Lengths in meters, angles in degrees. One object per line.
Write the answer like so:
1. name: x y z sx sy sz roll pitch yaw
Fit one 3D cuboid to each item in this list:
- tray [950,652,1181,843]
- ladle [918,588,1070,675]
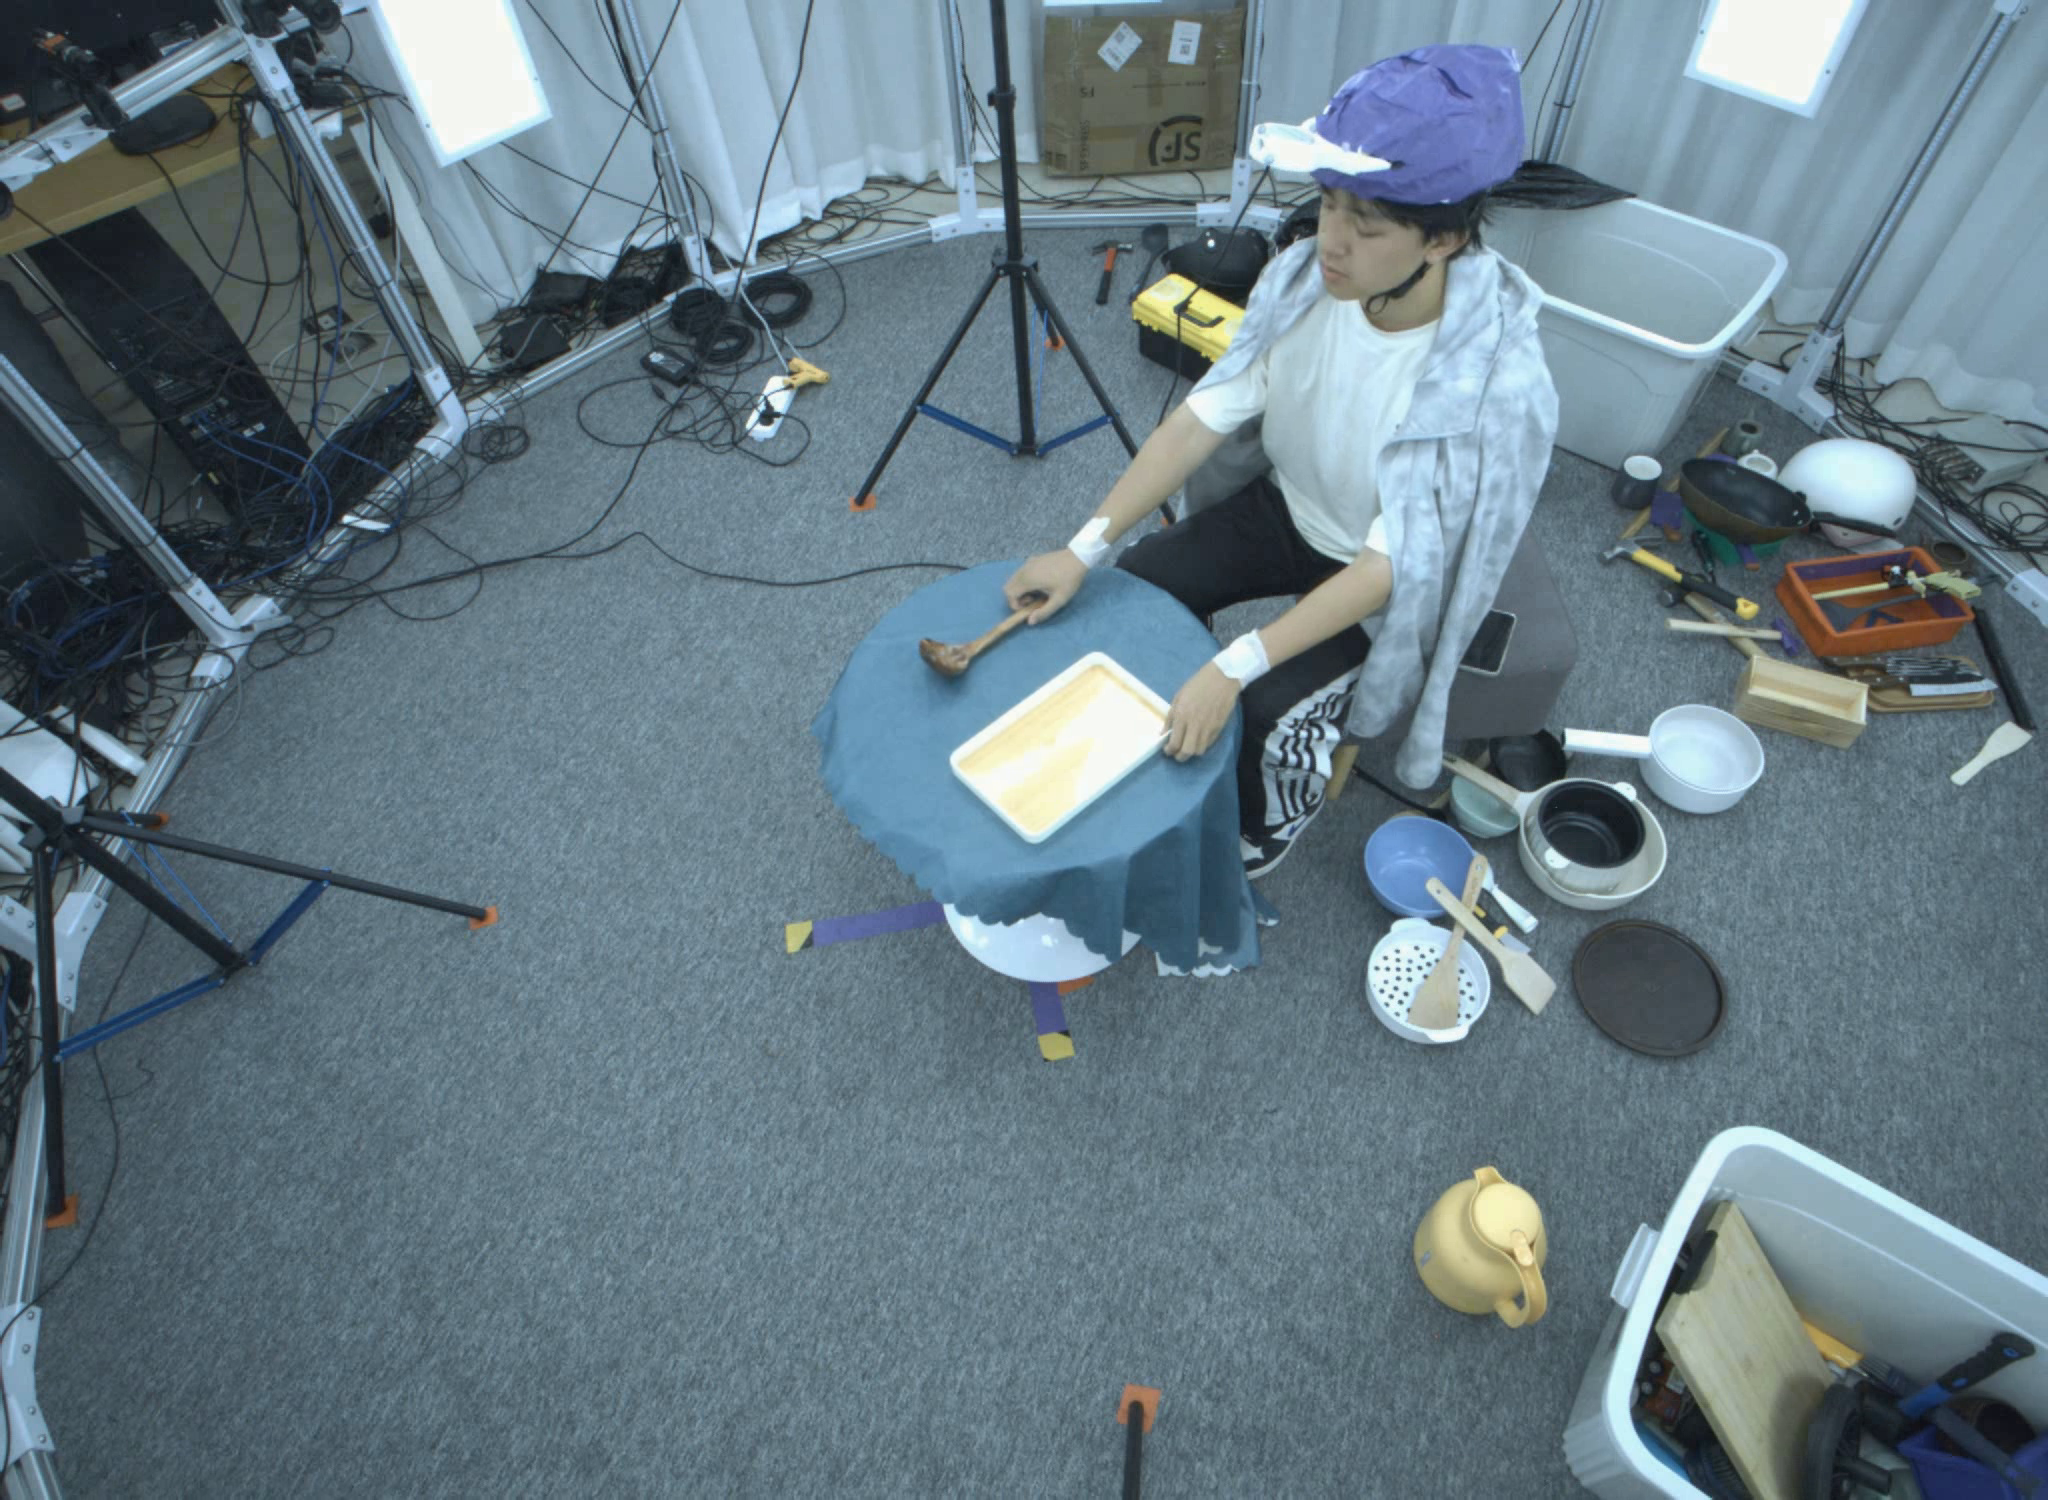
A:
1. tray: 0.062 -0.009 1.777 0.302 0.028 0.188 -37 61 -22
2. ladle: -0.042 -0.199 1.883 0.276 0.077 0.080 -34 66 -20
